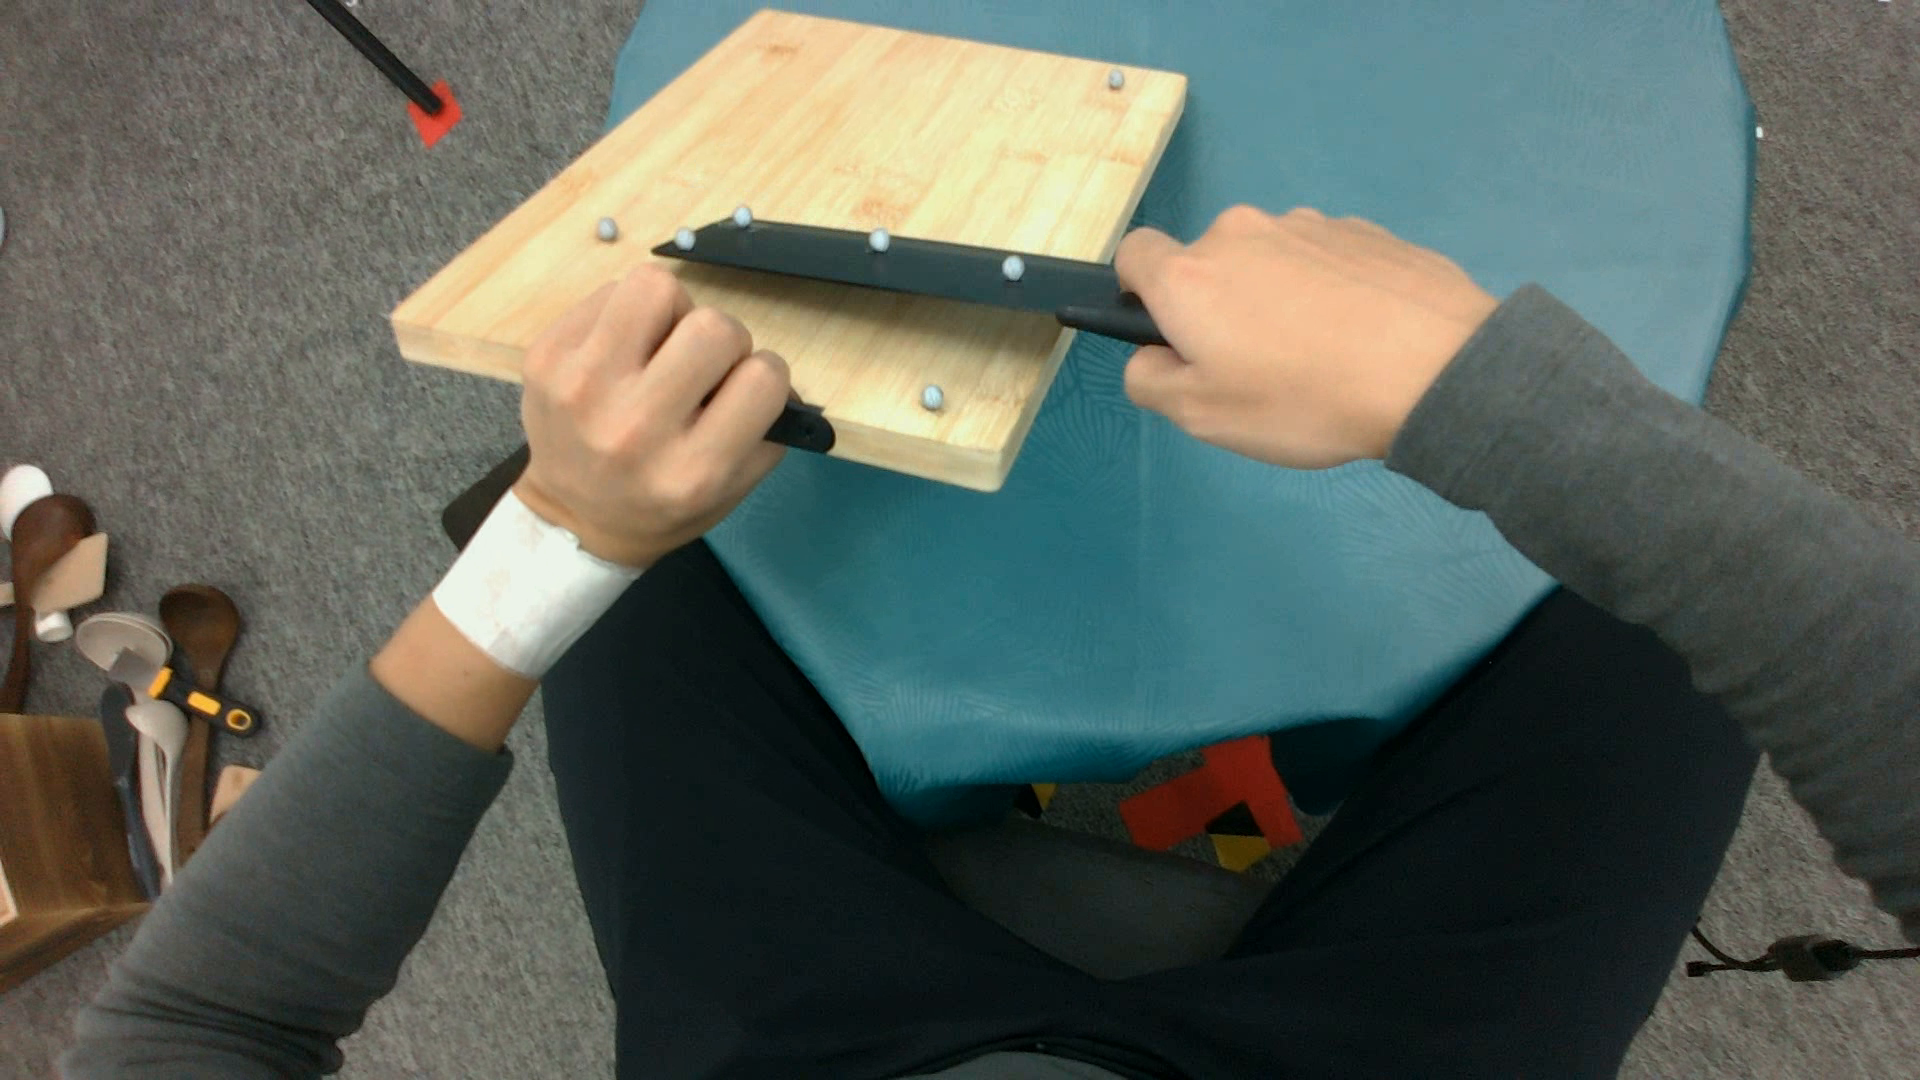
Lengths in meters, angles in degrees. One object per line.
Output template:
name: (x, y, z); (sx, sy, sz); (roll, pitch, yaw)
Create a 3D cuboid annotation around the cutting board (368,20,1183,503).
cutting board: (-0.052, -0.149, 0.618); (0.250, 0.023, 0.350); (12, 41, 12)

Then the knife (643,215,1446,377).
knife: (0.022, -0.096, 0.509); (0.302, 0.081, 0.021); (14, 120, 24)
